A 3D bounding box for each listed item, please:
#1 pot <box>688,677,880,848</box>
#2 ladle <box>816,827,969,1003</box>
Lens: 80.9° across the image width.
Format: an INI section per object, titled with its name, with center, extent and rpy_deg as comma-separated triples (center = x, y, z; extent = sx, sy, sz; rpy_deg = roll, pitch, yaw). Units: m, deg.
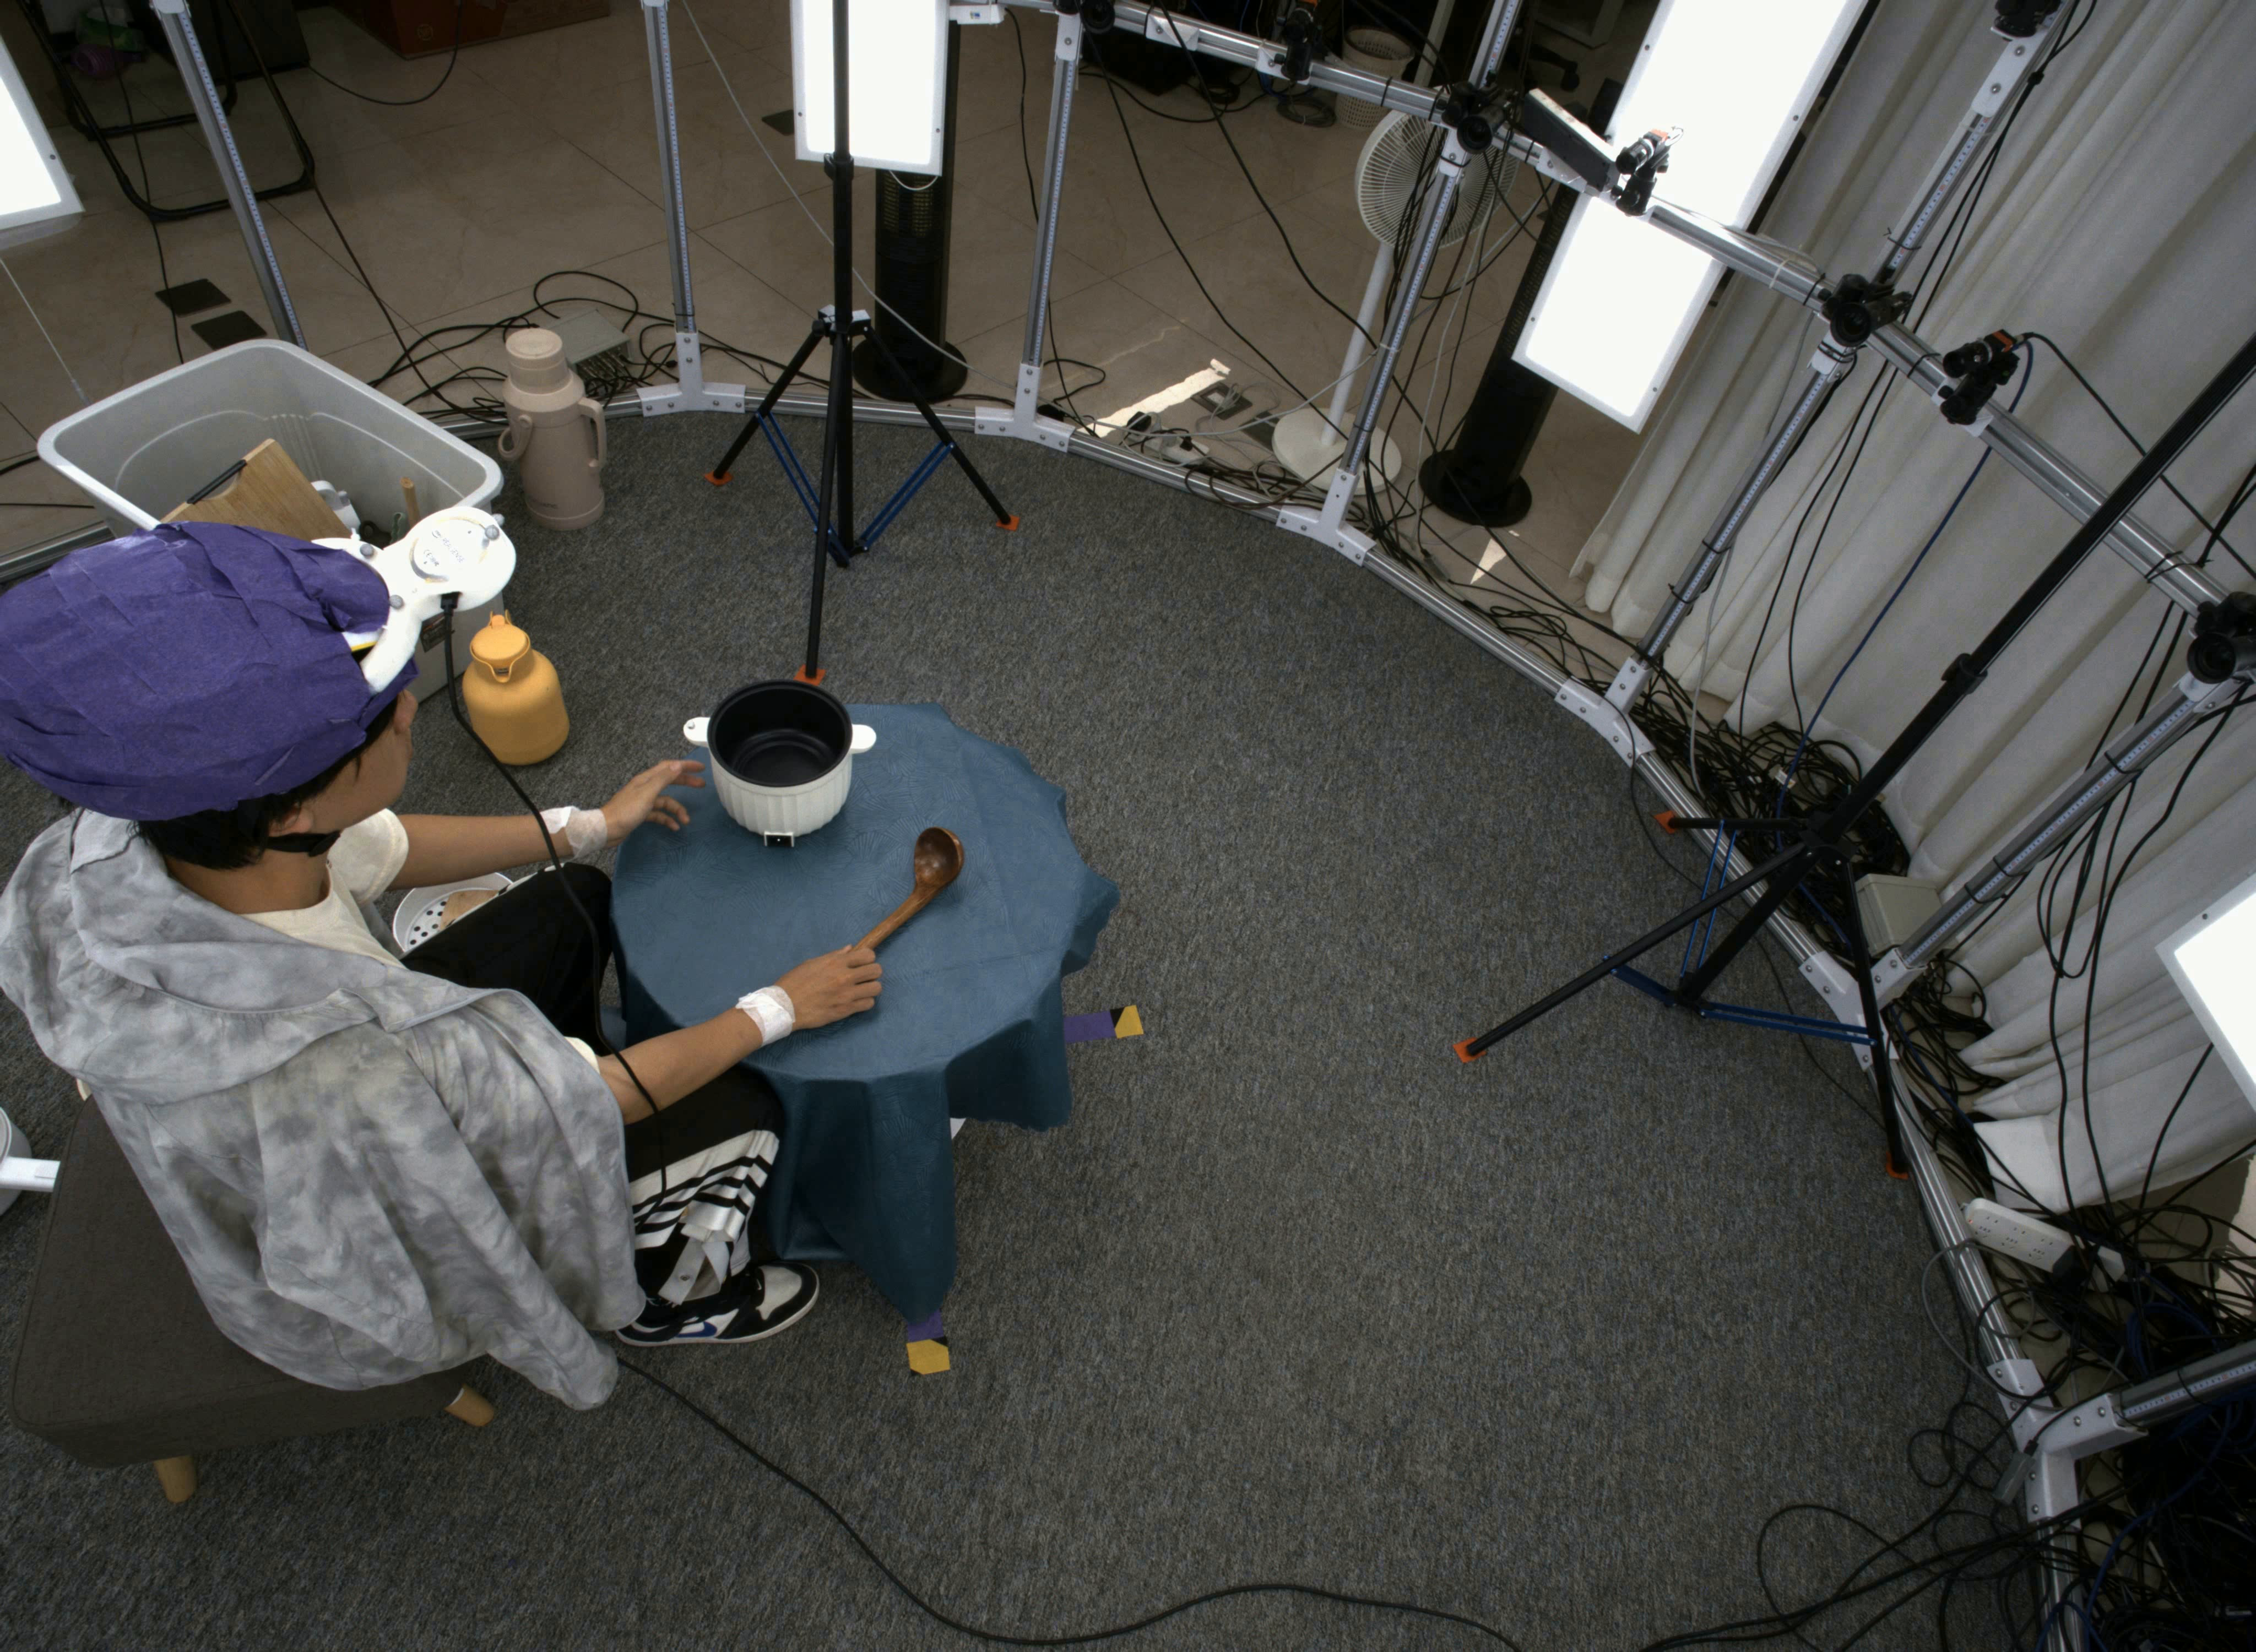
[pot]
center = -0.447, -0.086, 1.694
extent = 0.240, 0.145, 0.187
rpy_deg = 2, 56, -12
[ladle]
center = -0.300, 0.103, 1.632
extent = 0.079, 0.079, 0.274
rpy_deg = 12, 44, 39
